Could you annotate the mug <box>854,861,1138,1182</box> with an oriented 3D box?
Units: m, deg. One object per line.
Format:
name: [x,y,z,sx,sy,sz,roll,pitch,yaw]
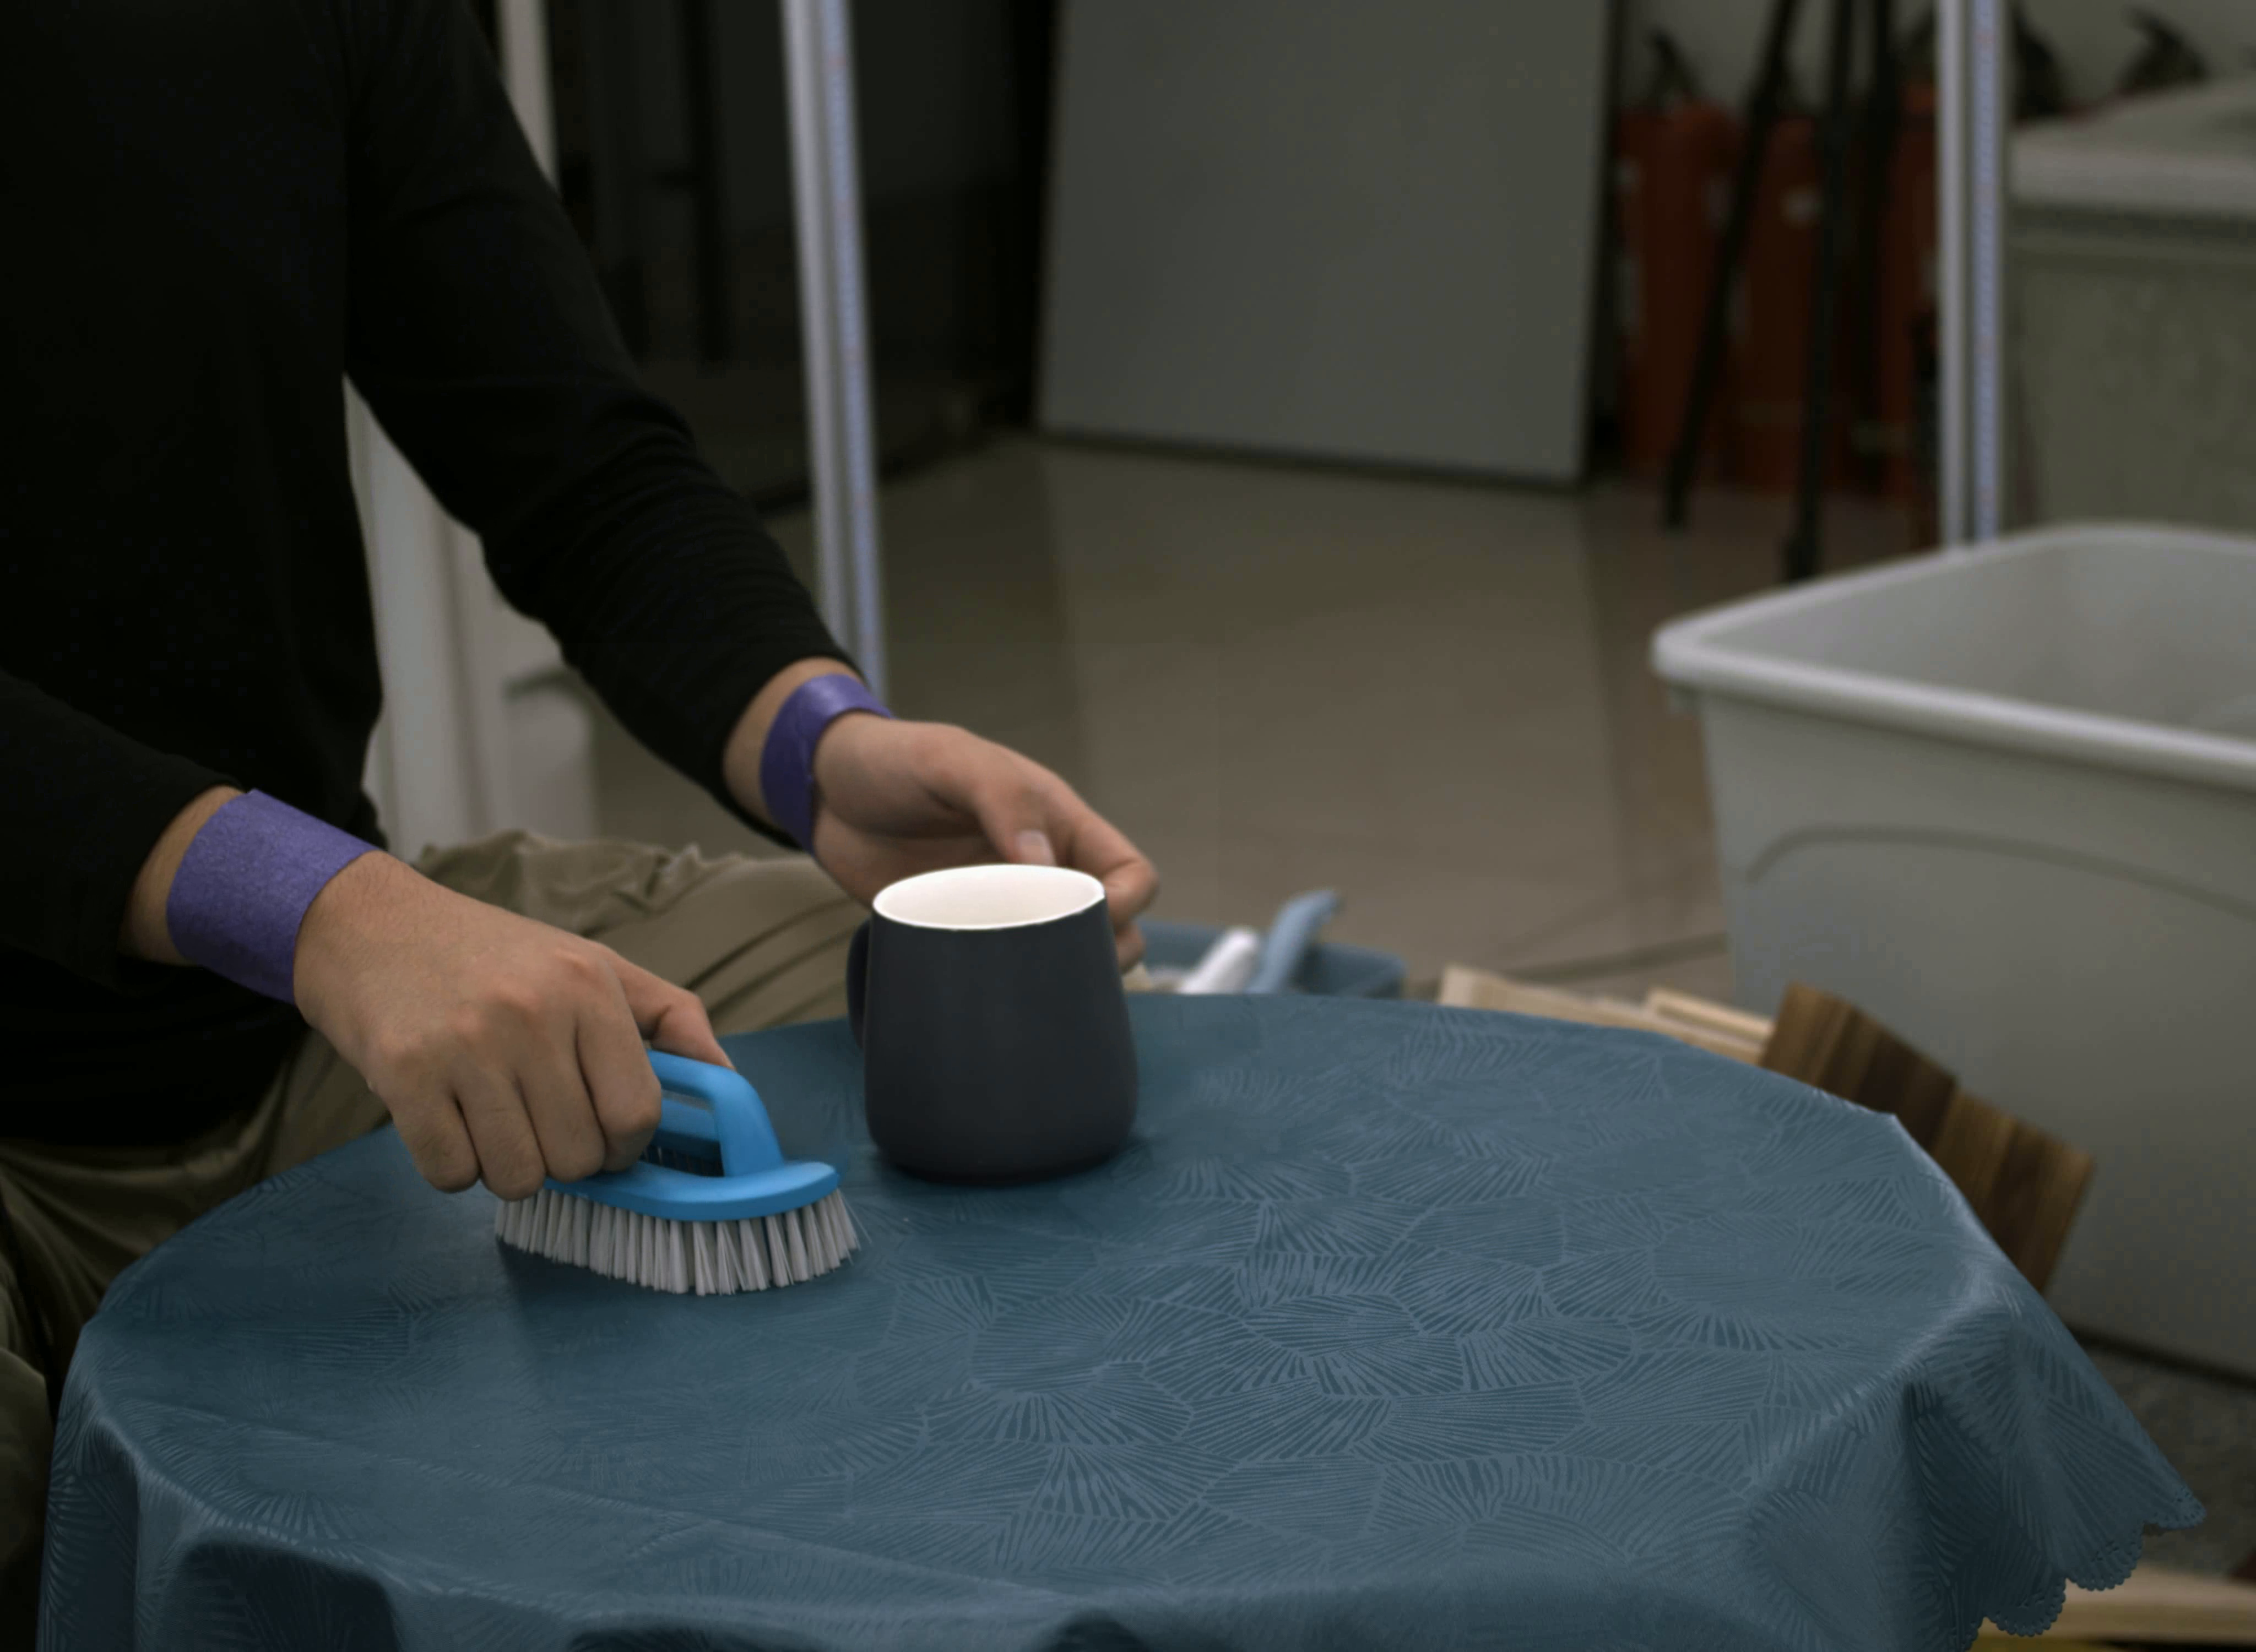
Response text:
mug: [-0.052,0.063,1.822,0.091,0.091,0.124,-12,17,-35]

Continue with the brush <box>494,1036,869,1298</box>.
brush: [-0.148,0.103,1.746,0.083,0.064,0.143,-21,20,-40]
